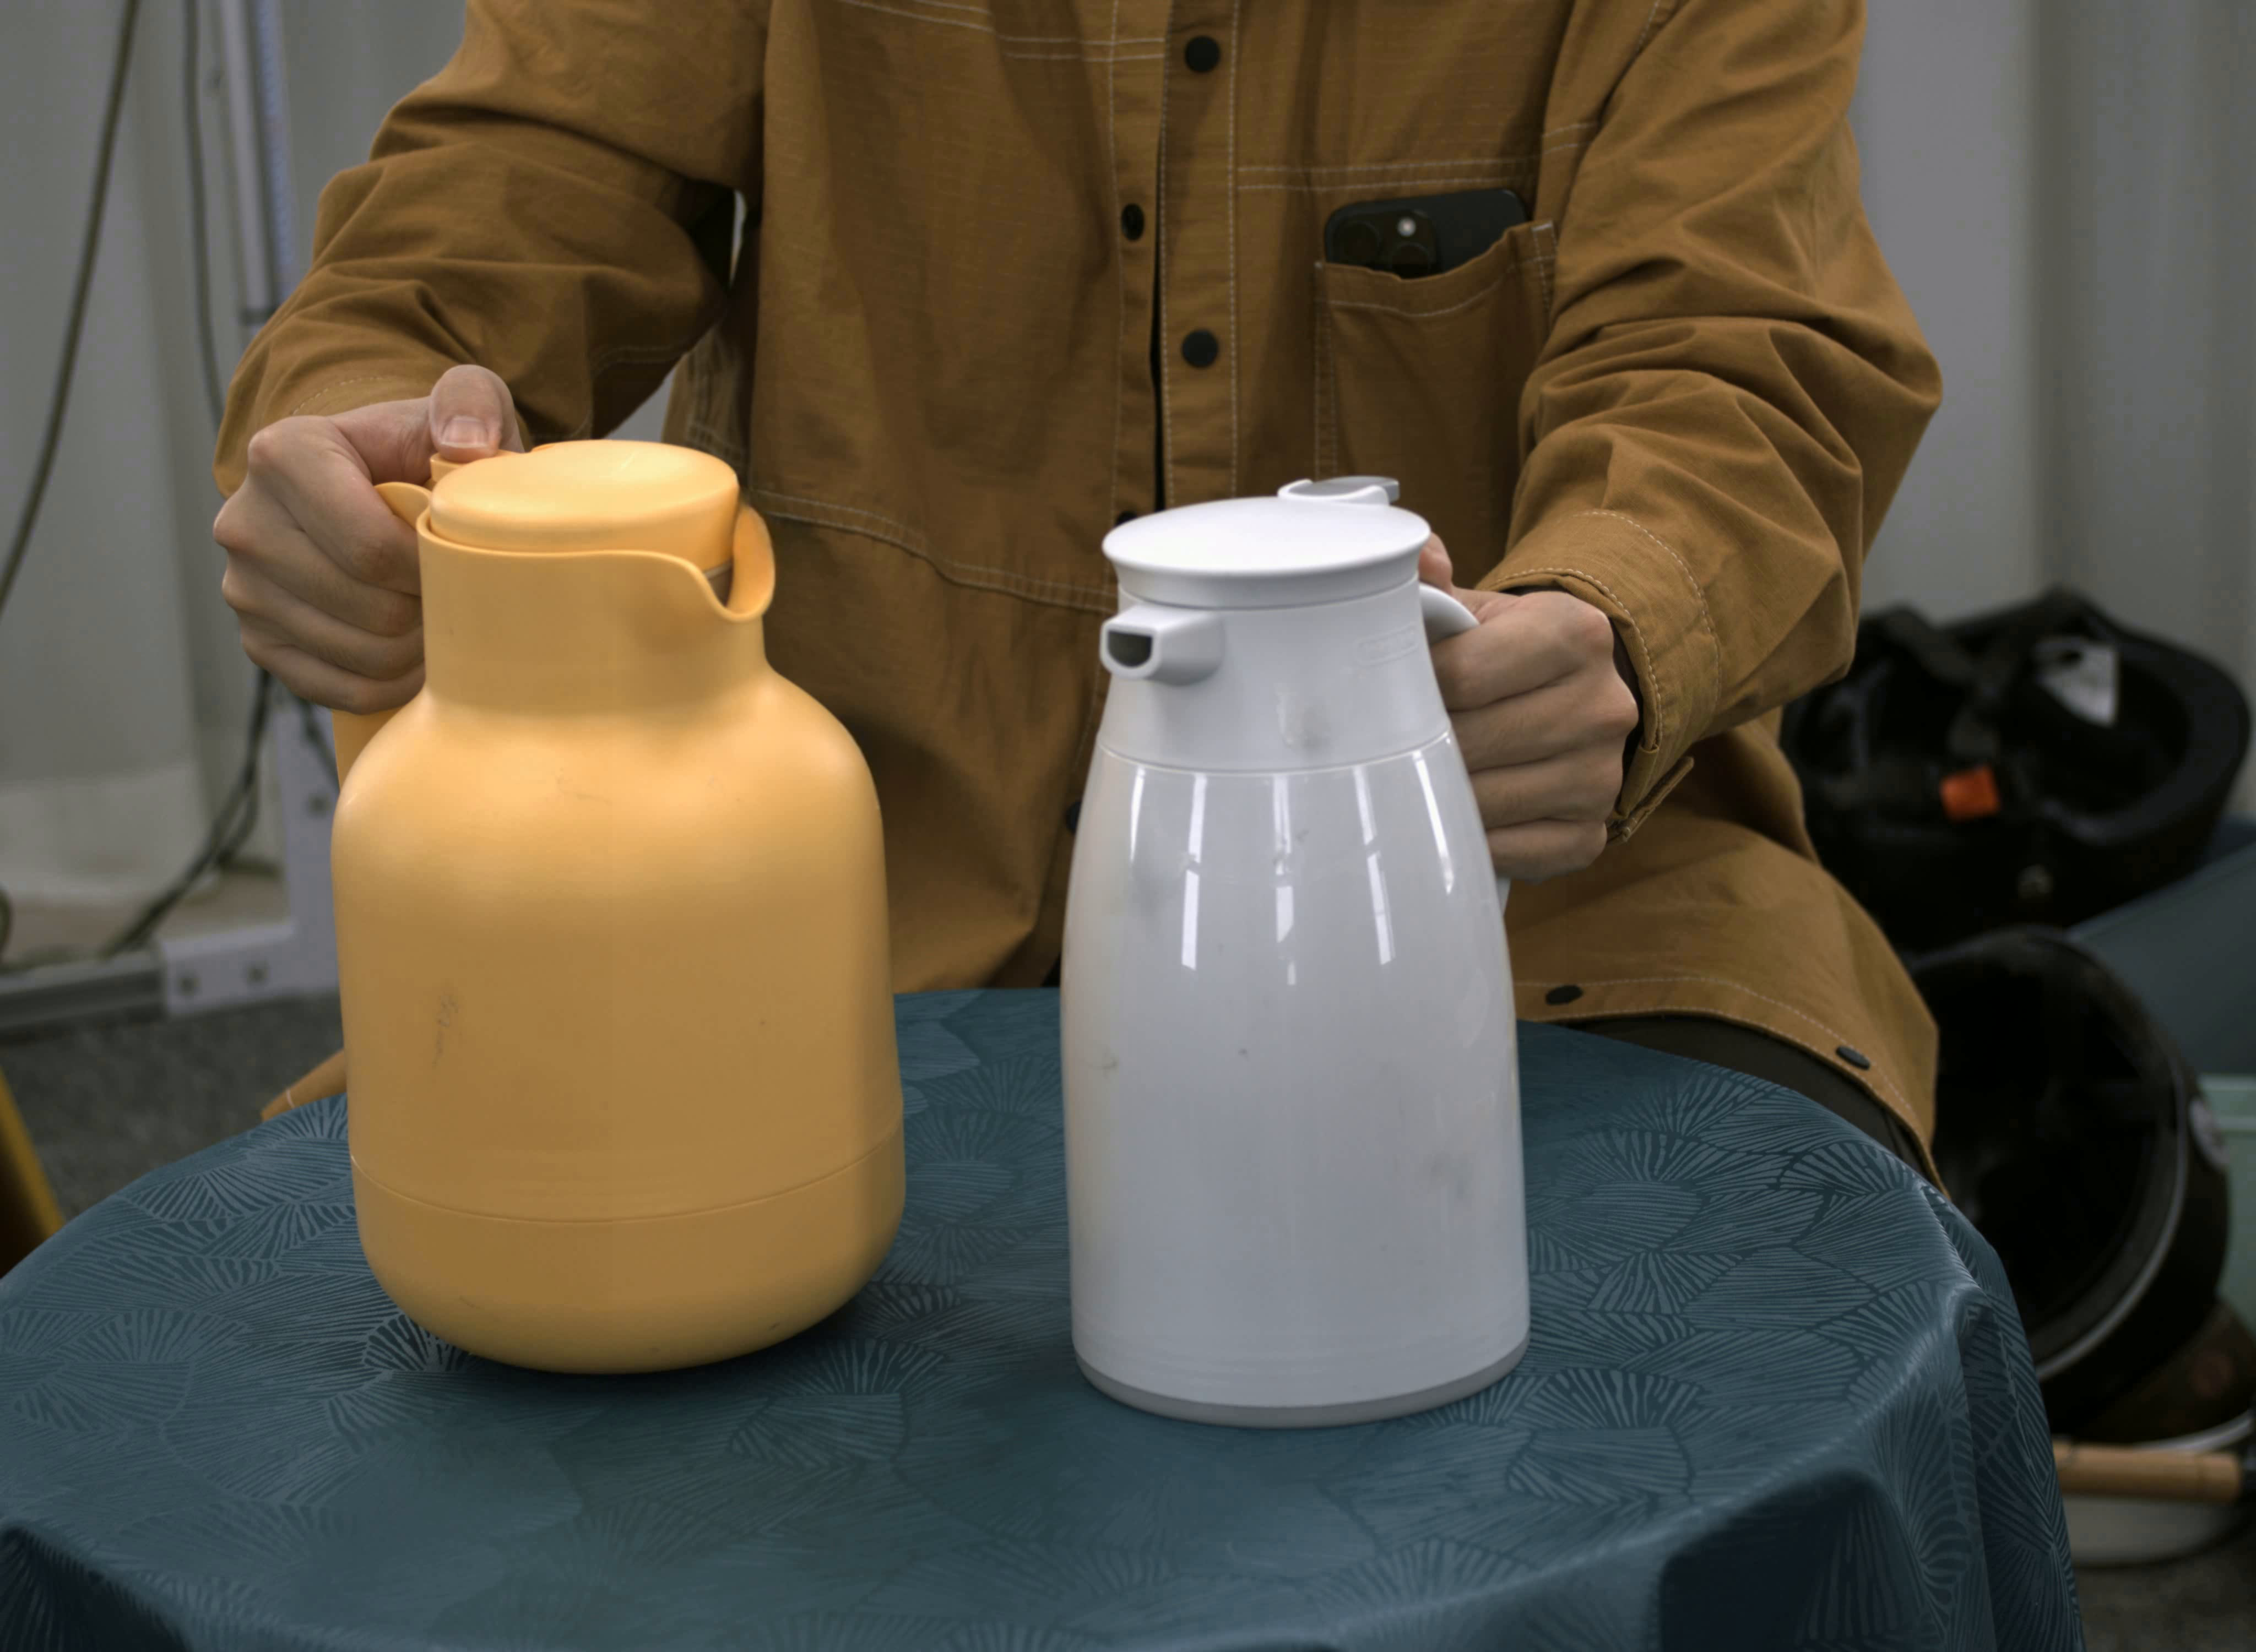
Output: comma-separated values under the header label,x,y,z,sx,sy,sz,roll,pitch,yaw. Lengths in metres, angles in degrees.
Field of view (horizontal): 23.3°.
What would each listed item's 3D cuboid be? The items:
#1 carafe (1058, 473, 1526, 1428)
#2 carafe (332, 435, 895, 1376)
label,x,y,z,sx,sy,sz,roll,pitch,yaw
carafe,0.055,0.026,1.558,0.133,0.248,0.167,8,17,38
carafe,-0.162,0.014,1.607,0.163,0.259,0.204,-13,21,-38
